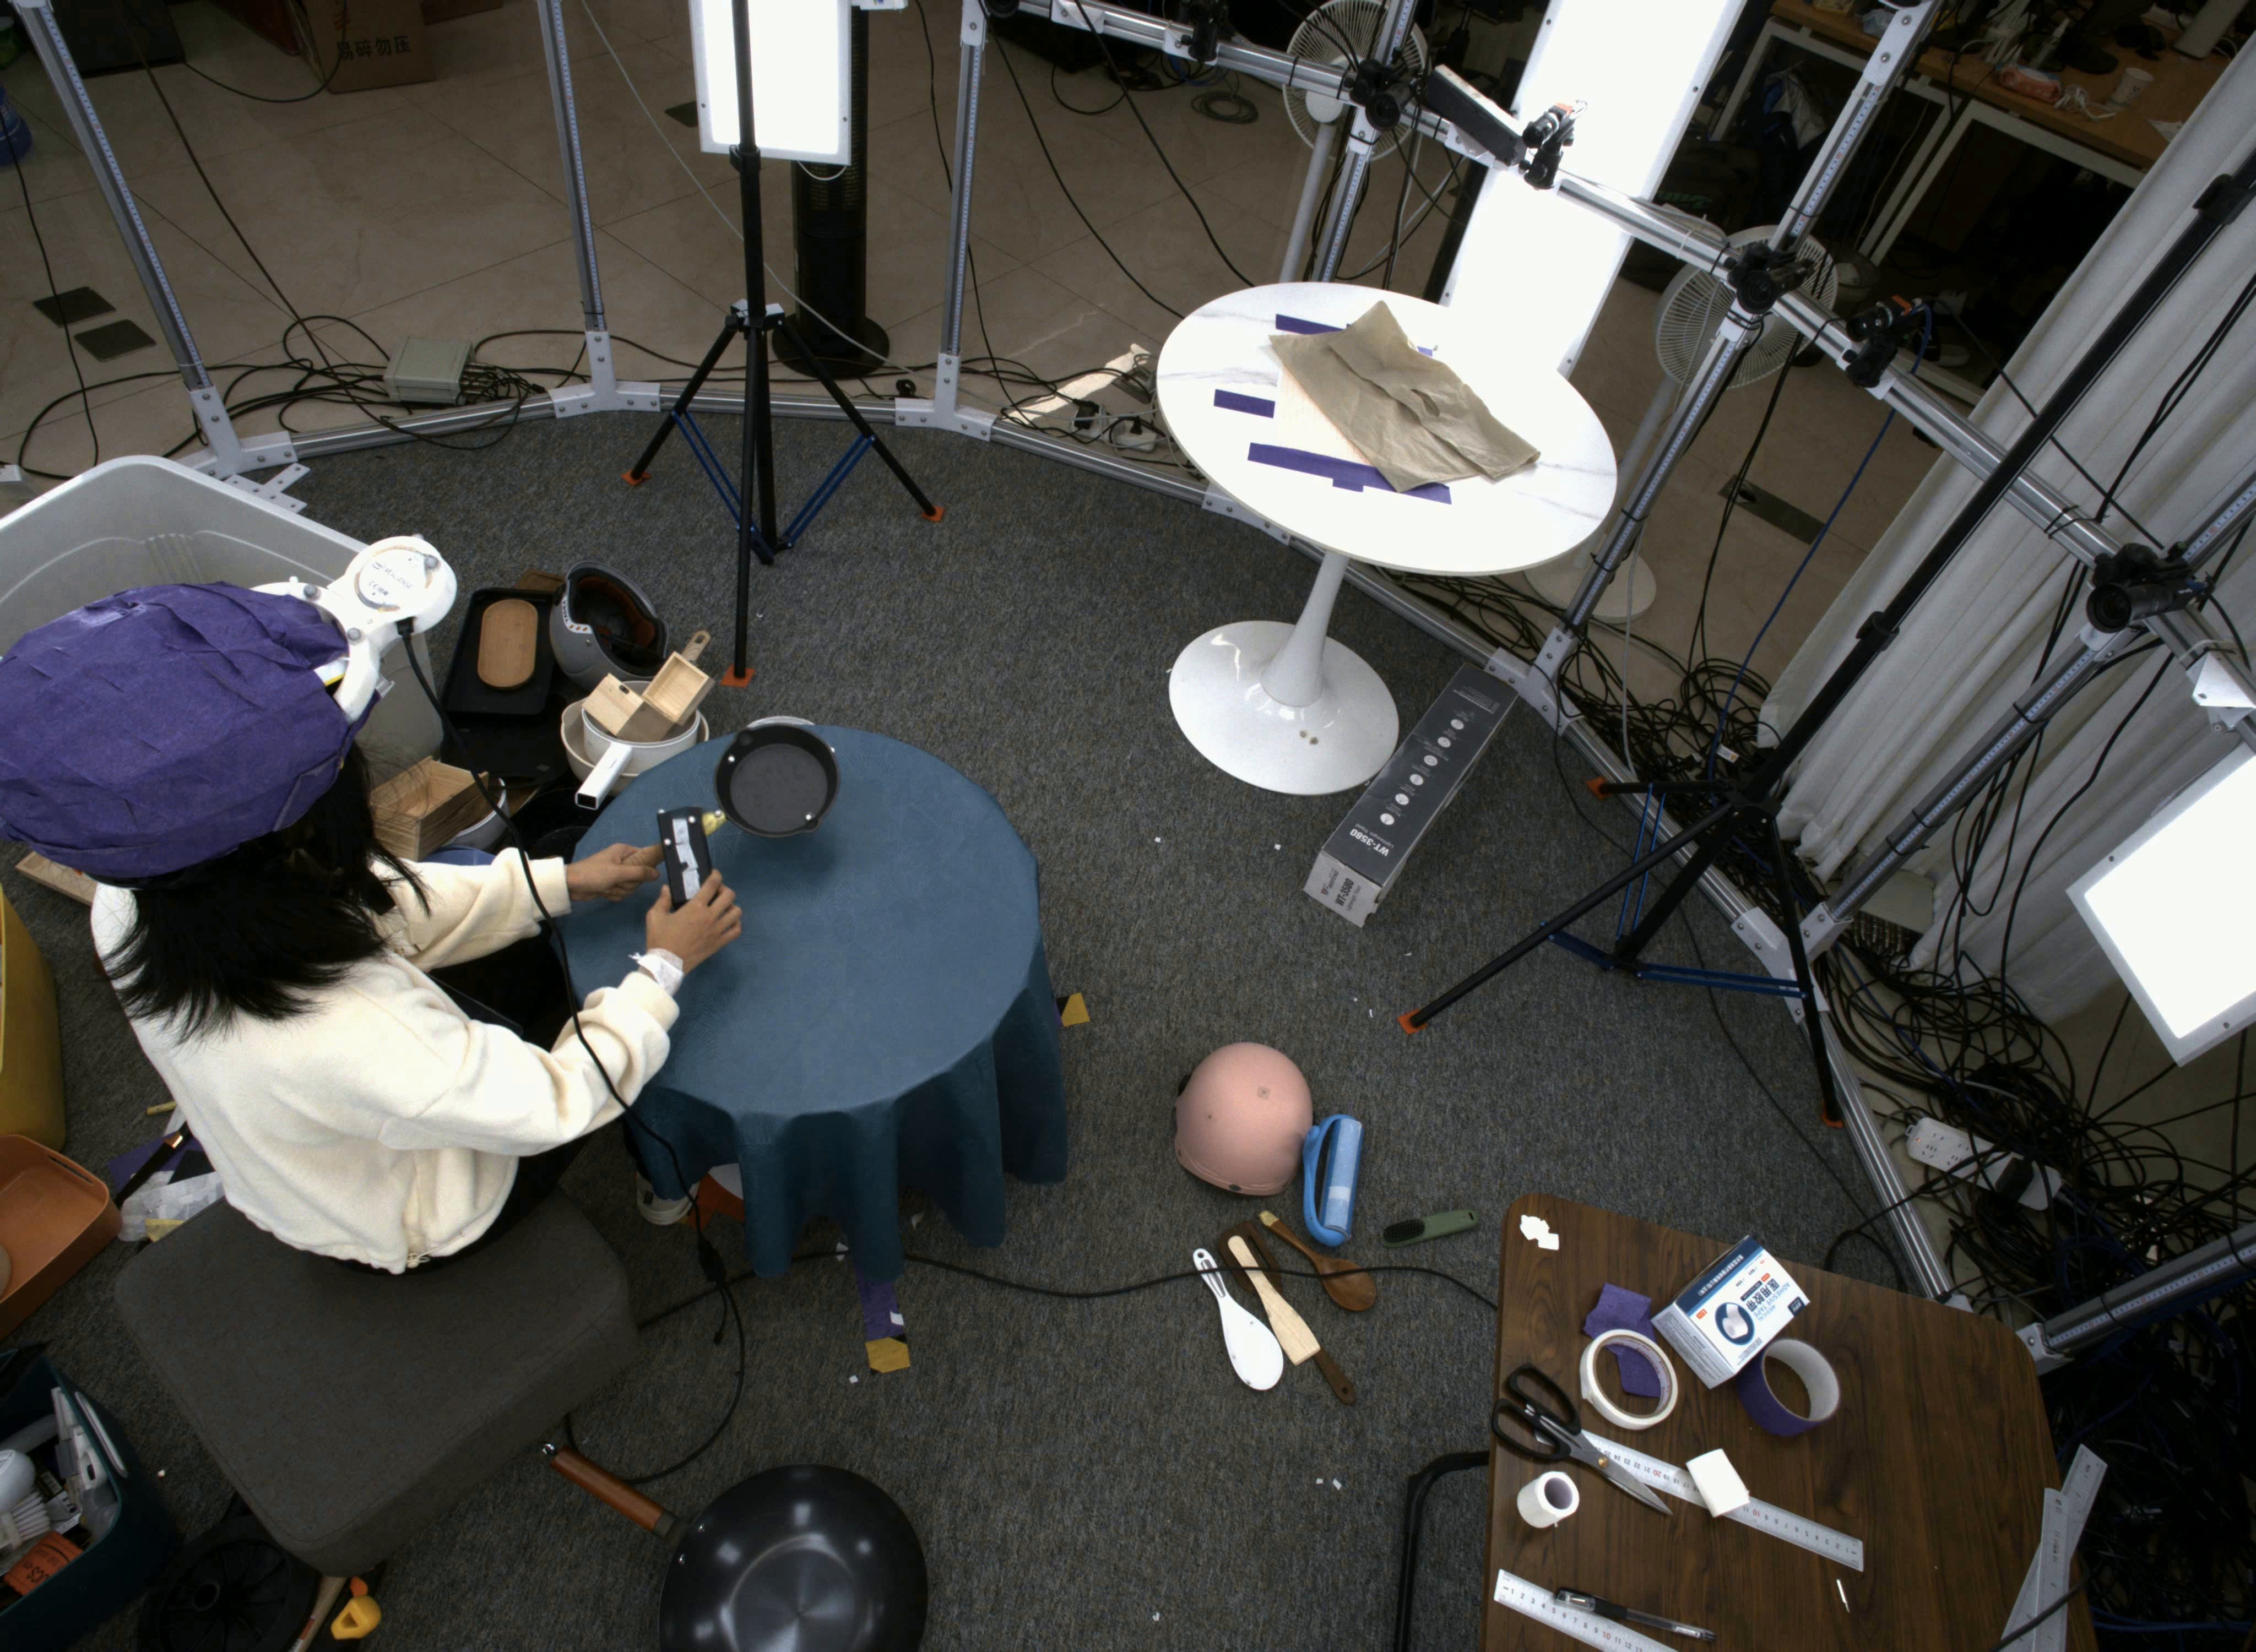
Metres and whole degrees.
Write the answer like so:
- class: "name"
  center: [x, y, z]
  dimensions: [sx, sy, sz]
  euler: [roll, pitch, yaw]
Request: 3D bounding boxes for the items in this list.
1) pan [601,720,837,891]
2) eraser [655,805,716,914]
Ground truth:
- class: "pan"
  center: [-0.512, -0.014, 1.606]
  dimensions: [0.324, 0.050, 0.168]
  euler: [-34, 82, -21]
- class: "eraser"
  center: [-0.532, 0.038, 1.546]
  dimensions: [0.053, 0.031, 0.124]
  euler: [-12, 72, -15]
